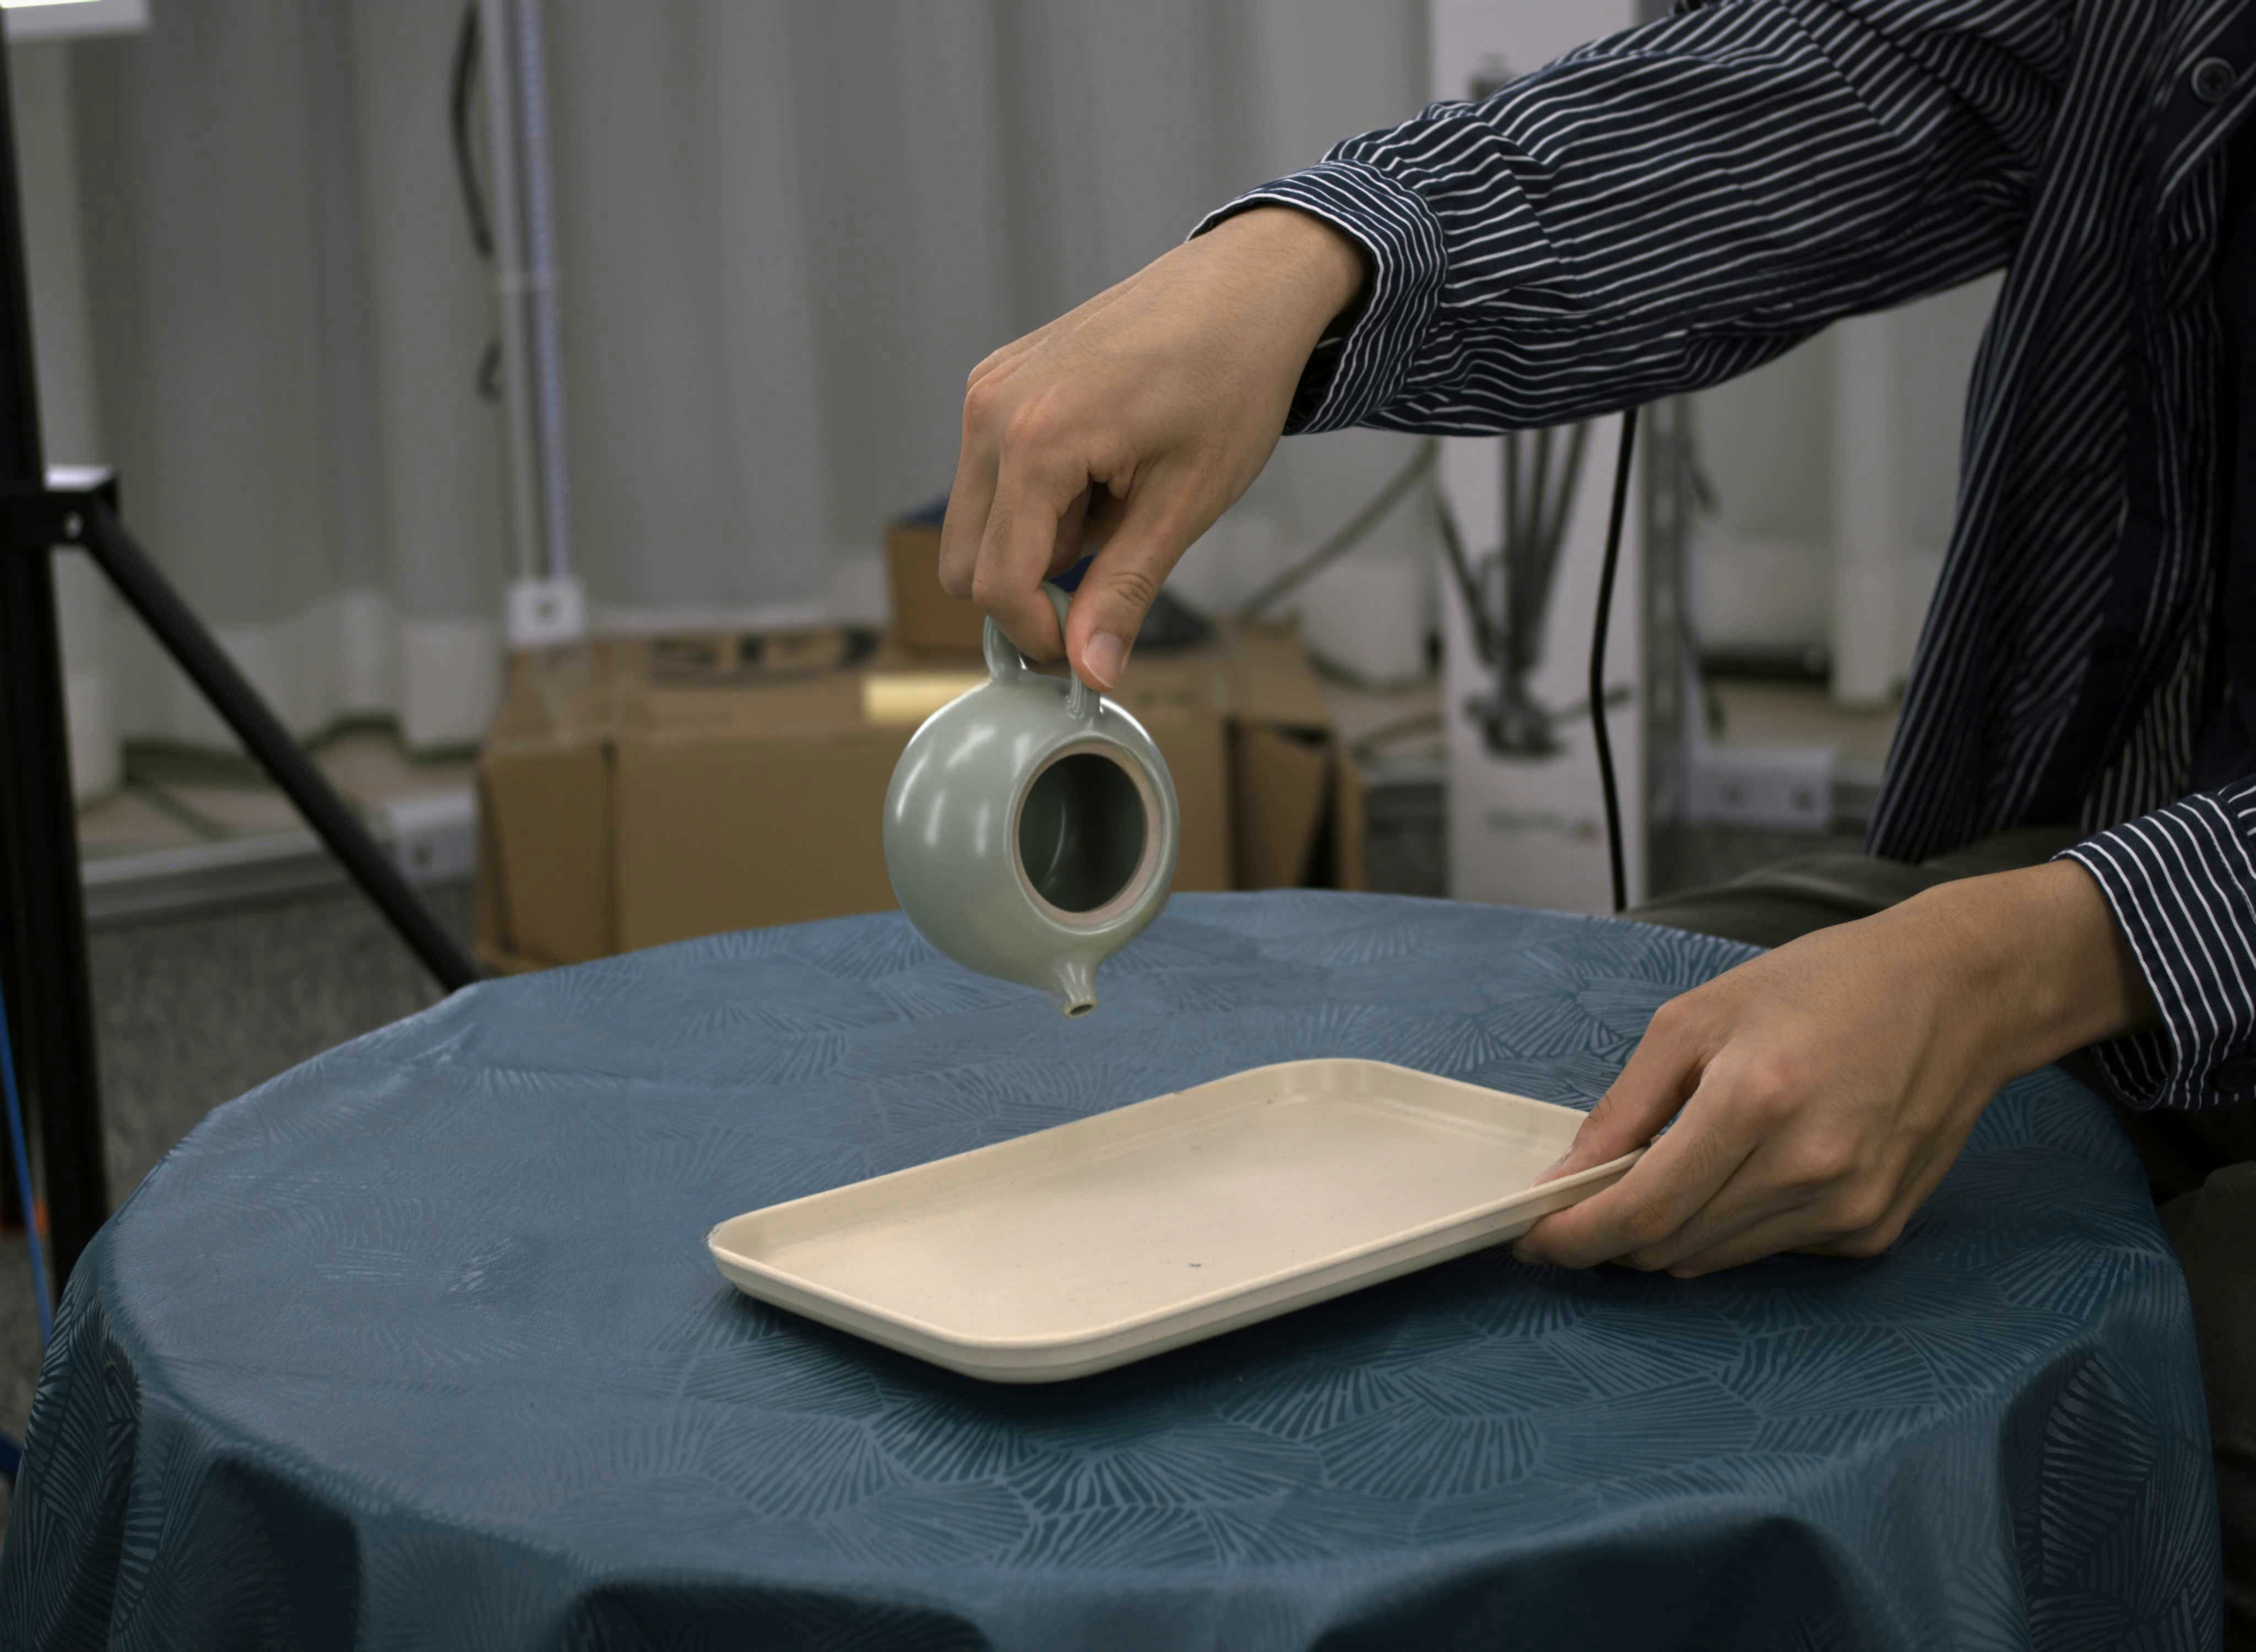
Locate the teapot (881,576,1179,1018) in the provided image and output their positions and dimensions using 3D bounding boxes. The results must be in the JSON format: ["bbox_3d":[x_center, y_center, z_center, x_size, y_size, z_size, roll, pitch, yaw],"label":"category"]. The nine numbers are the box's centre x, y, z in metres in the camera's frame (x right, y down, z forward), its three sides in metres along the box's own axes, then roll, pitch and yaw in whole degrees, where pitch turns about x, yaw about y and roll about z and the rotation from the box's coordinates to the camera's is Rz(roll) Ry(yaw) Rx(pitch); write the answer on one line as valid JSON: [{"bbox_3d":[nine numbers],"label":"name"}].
[{"bbox_3d":[-0.029,-0.009,1.572,0.089,0.129,0.062,3,1,-34],"label":"teapot"}]

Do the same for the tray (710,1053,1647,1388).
[{"bbox_3d":[0.016,0.110,1.500,0.234,0.017,0.175,-14,16,-33],"label":"tray"}]
